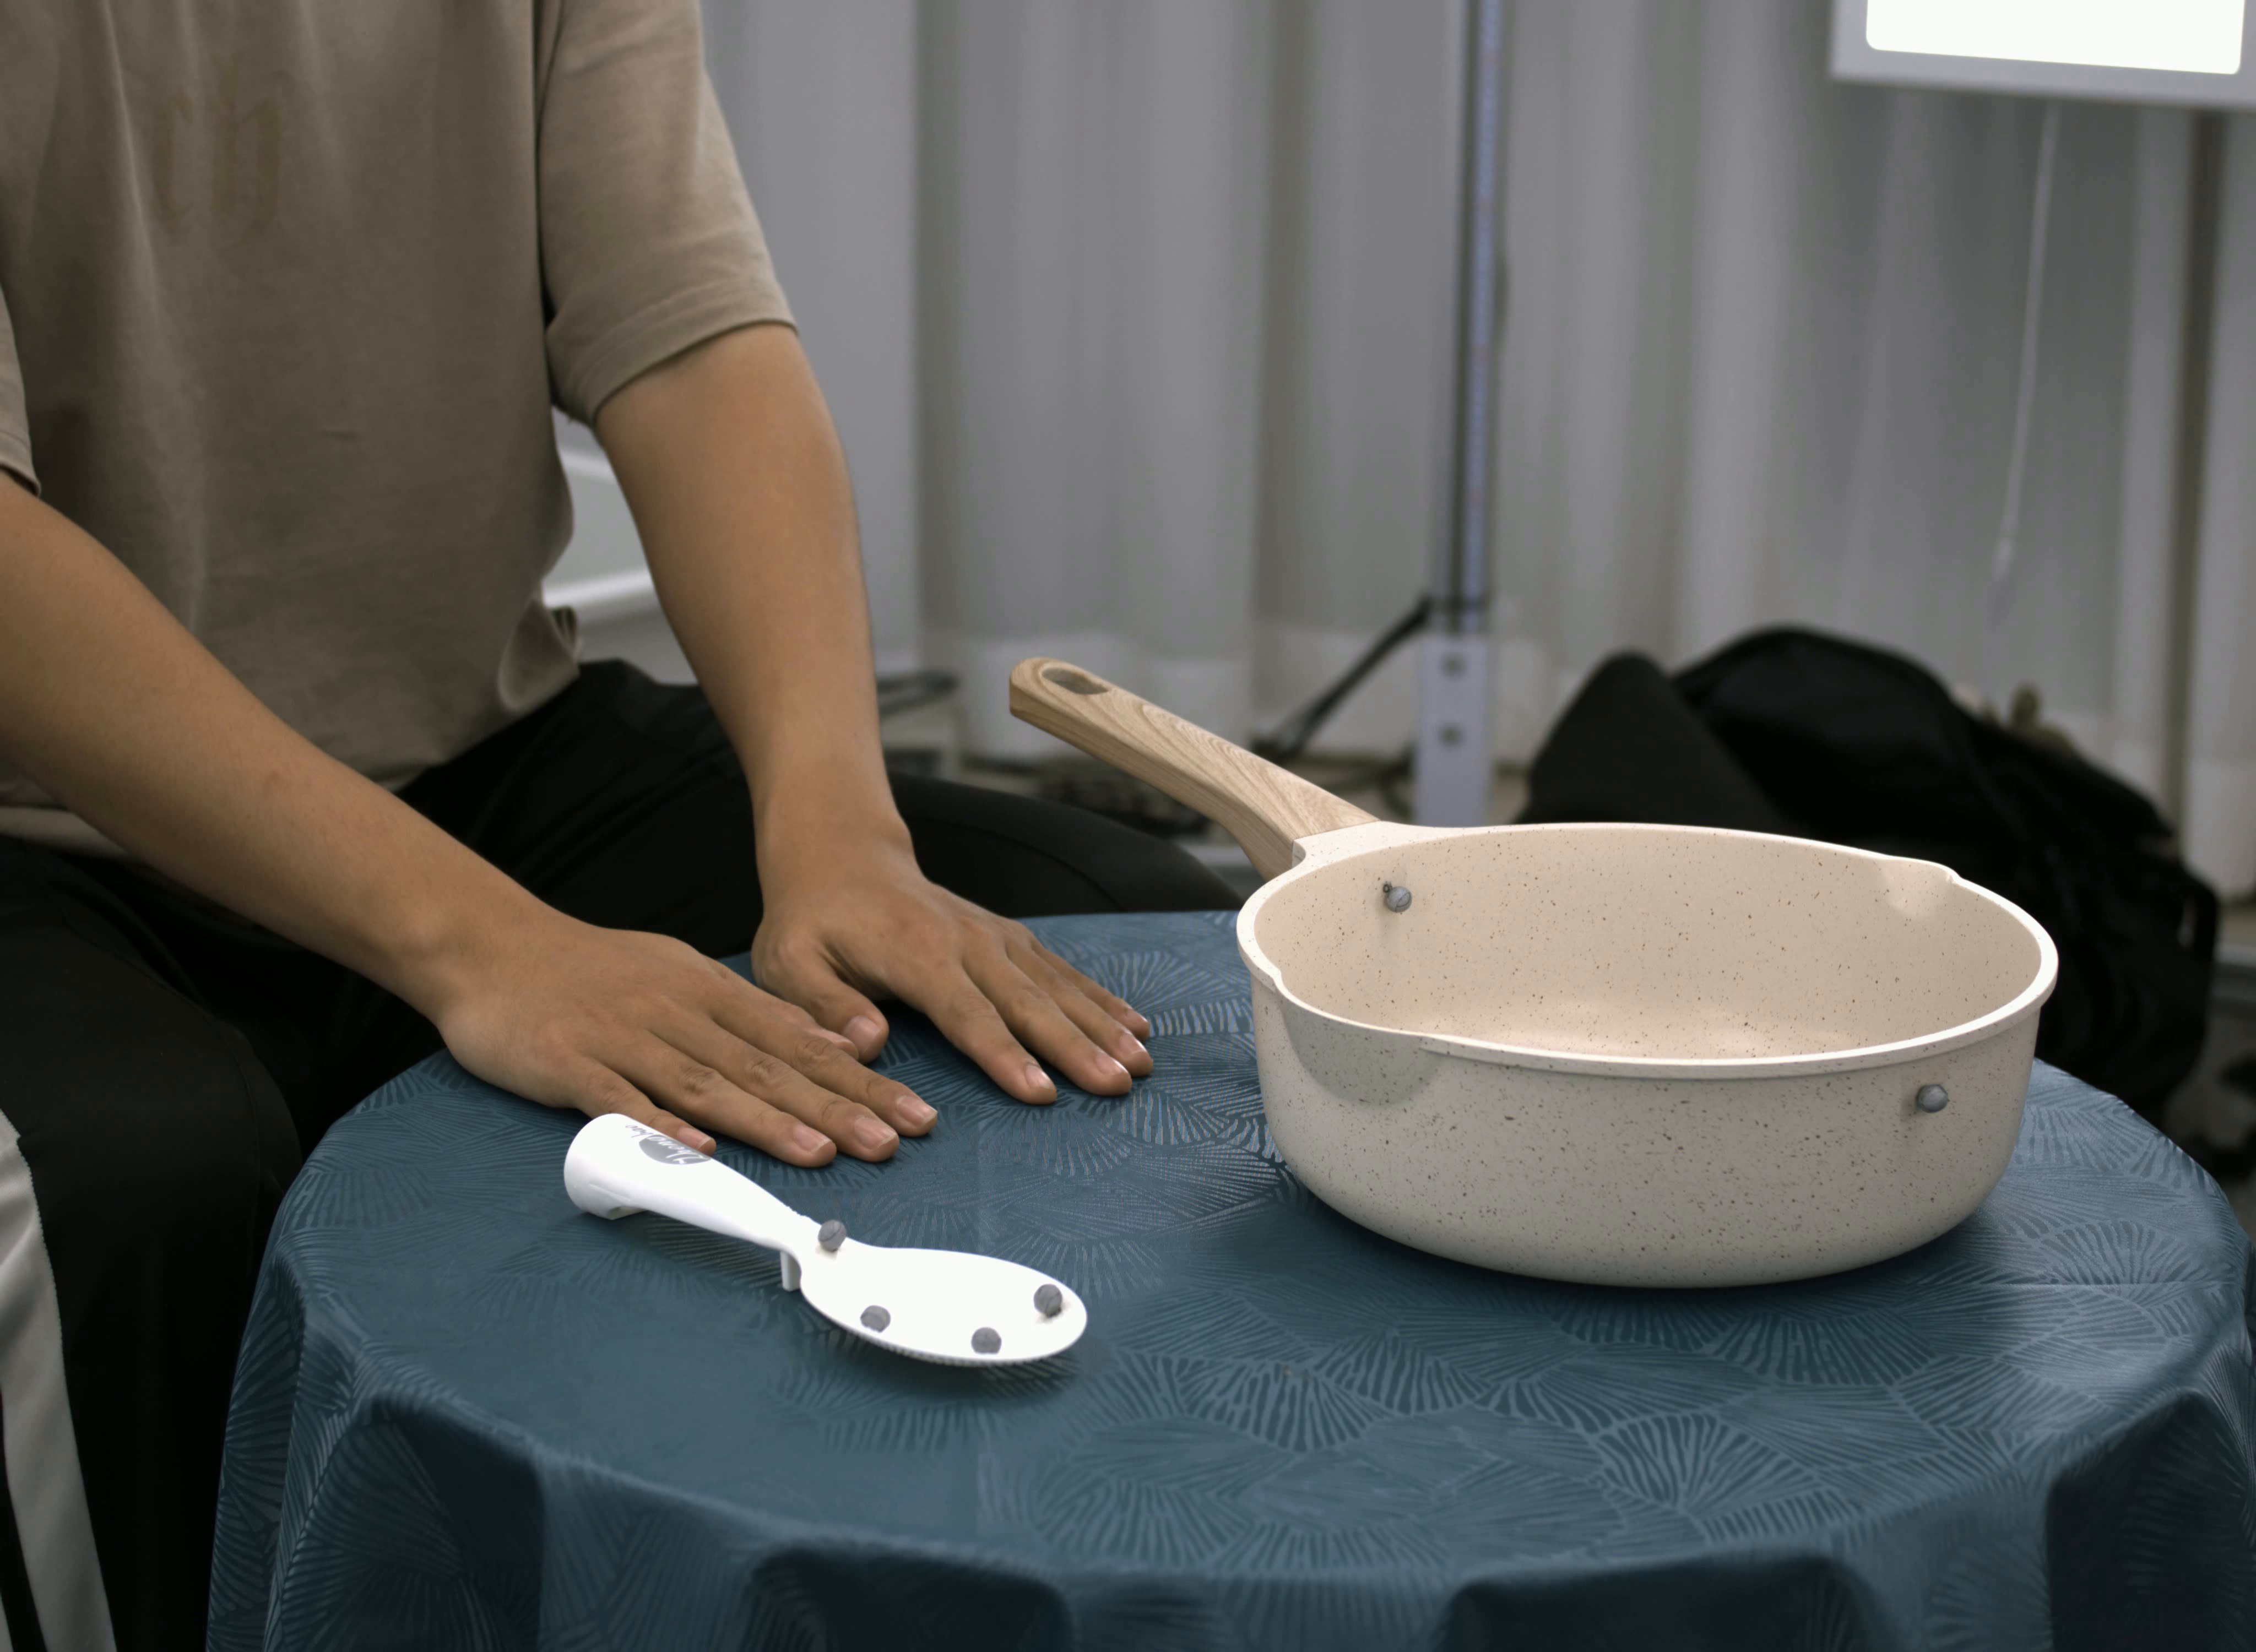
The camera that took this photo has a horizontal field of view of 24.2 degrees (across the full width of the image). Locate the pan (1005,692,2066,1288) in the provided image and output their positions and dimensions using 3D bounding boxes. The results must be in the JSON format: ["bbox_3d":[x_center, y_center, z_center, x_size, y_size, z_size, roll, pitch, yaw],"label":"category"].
[{"bbox_3d":[0.105,0.046,1.697,0.264,0.103,0.429,-15,21,-37],"label":"pan"}]

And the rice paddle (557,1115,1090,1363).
[{"bbox_3d":[-0.090,0.122,1.530,0.069,0.029,0.202,-16,23,-42],"label":"rice paddle"}]
